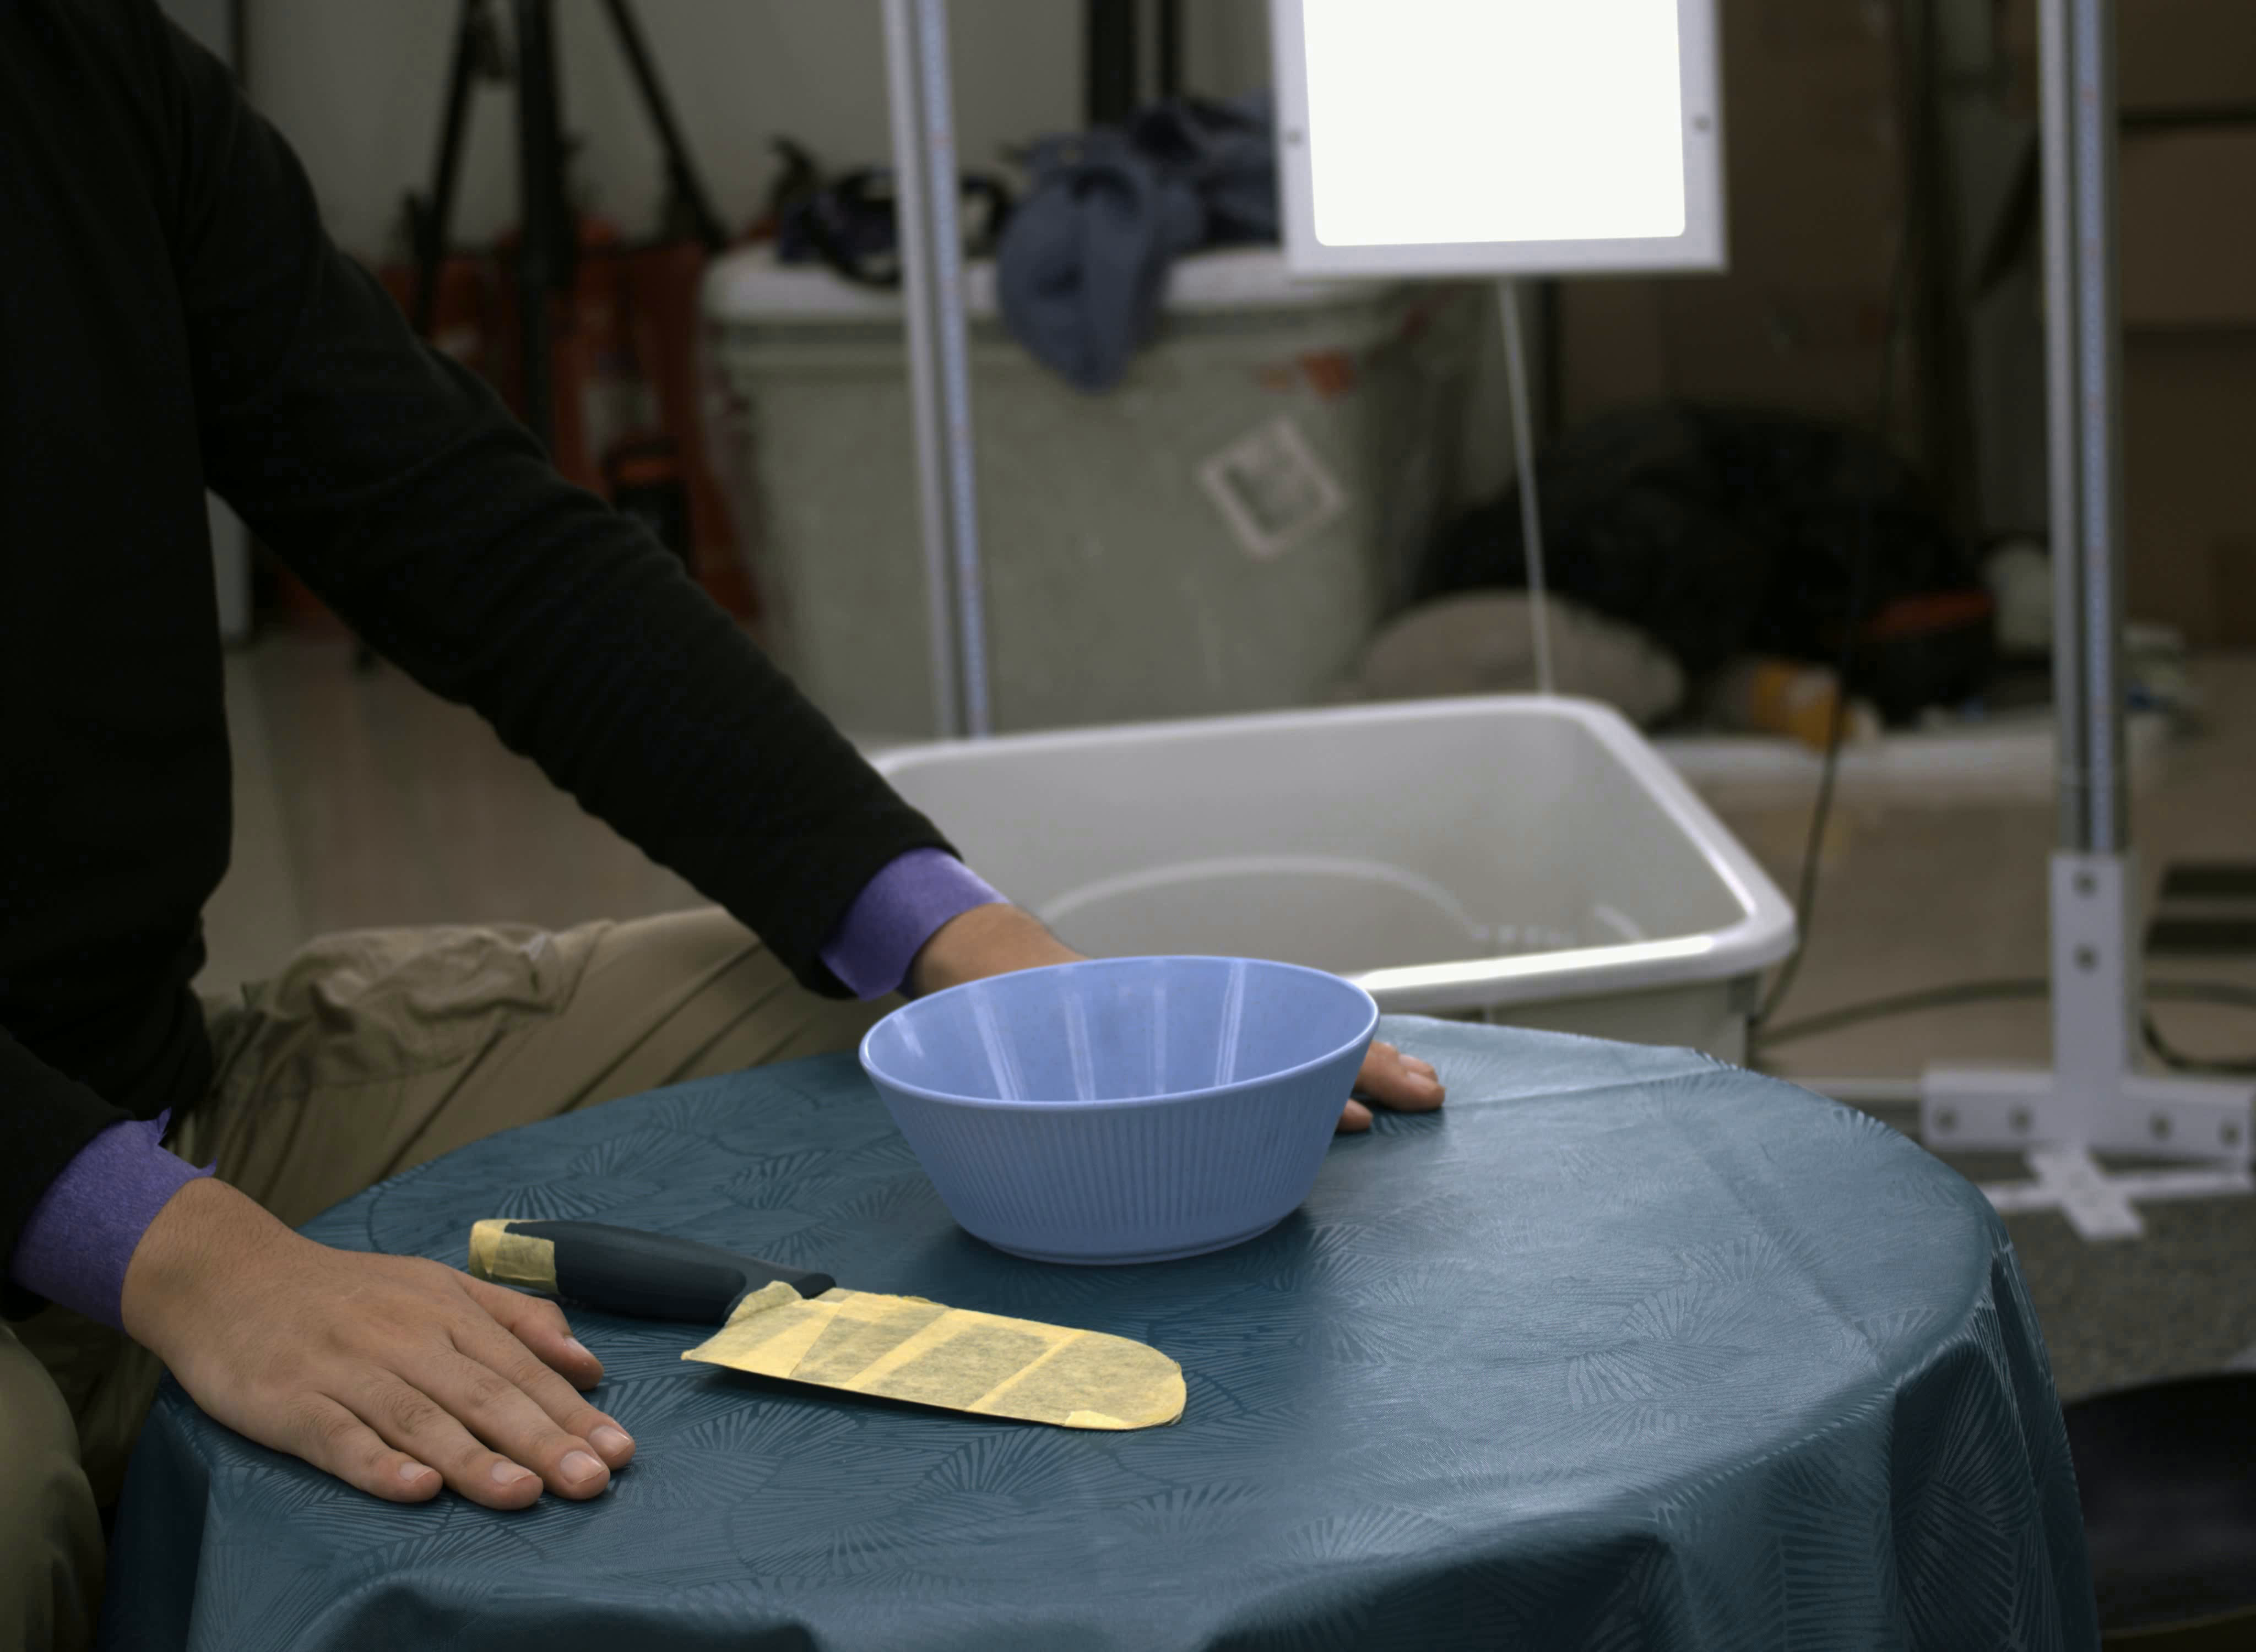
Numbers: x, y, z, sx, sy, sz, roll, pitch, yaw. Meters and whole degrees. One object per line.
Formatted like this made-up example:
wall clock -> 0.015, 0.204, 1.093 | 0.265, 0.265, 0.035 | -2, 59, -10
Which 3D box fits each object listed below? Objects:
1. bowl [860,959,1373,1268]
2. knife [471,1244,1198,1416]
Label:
bowl -> -0.001, 0.100, 1.864 | 0.175, 0.070, 0.176 | -5, 14, 0
knife -> -0.102, 0.163, 1.761 | 0.295, 0.027, 0.079 | 5, 16, 34
